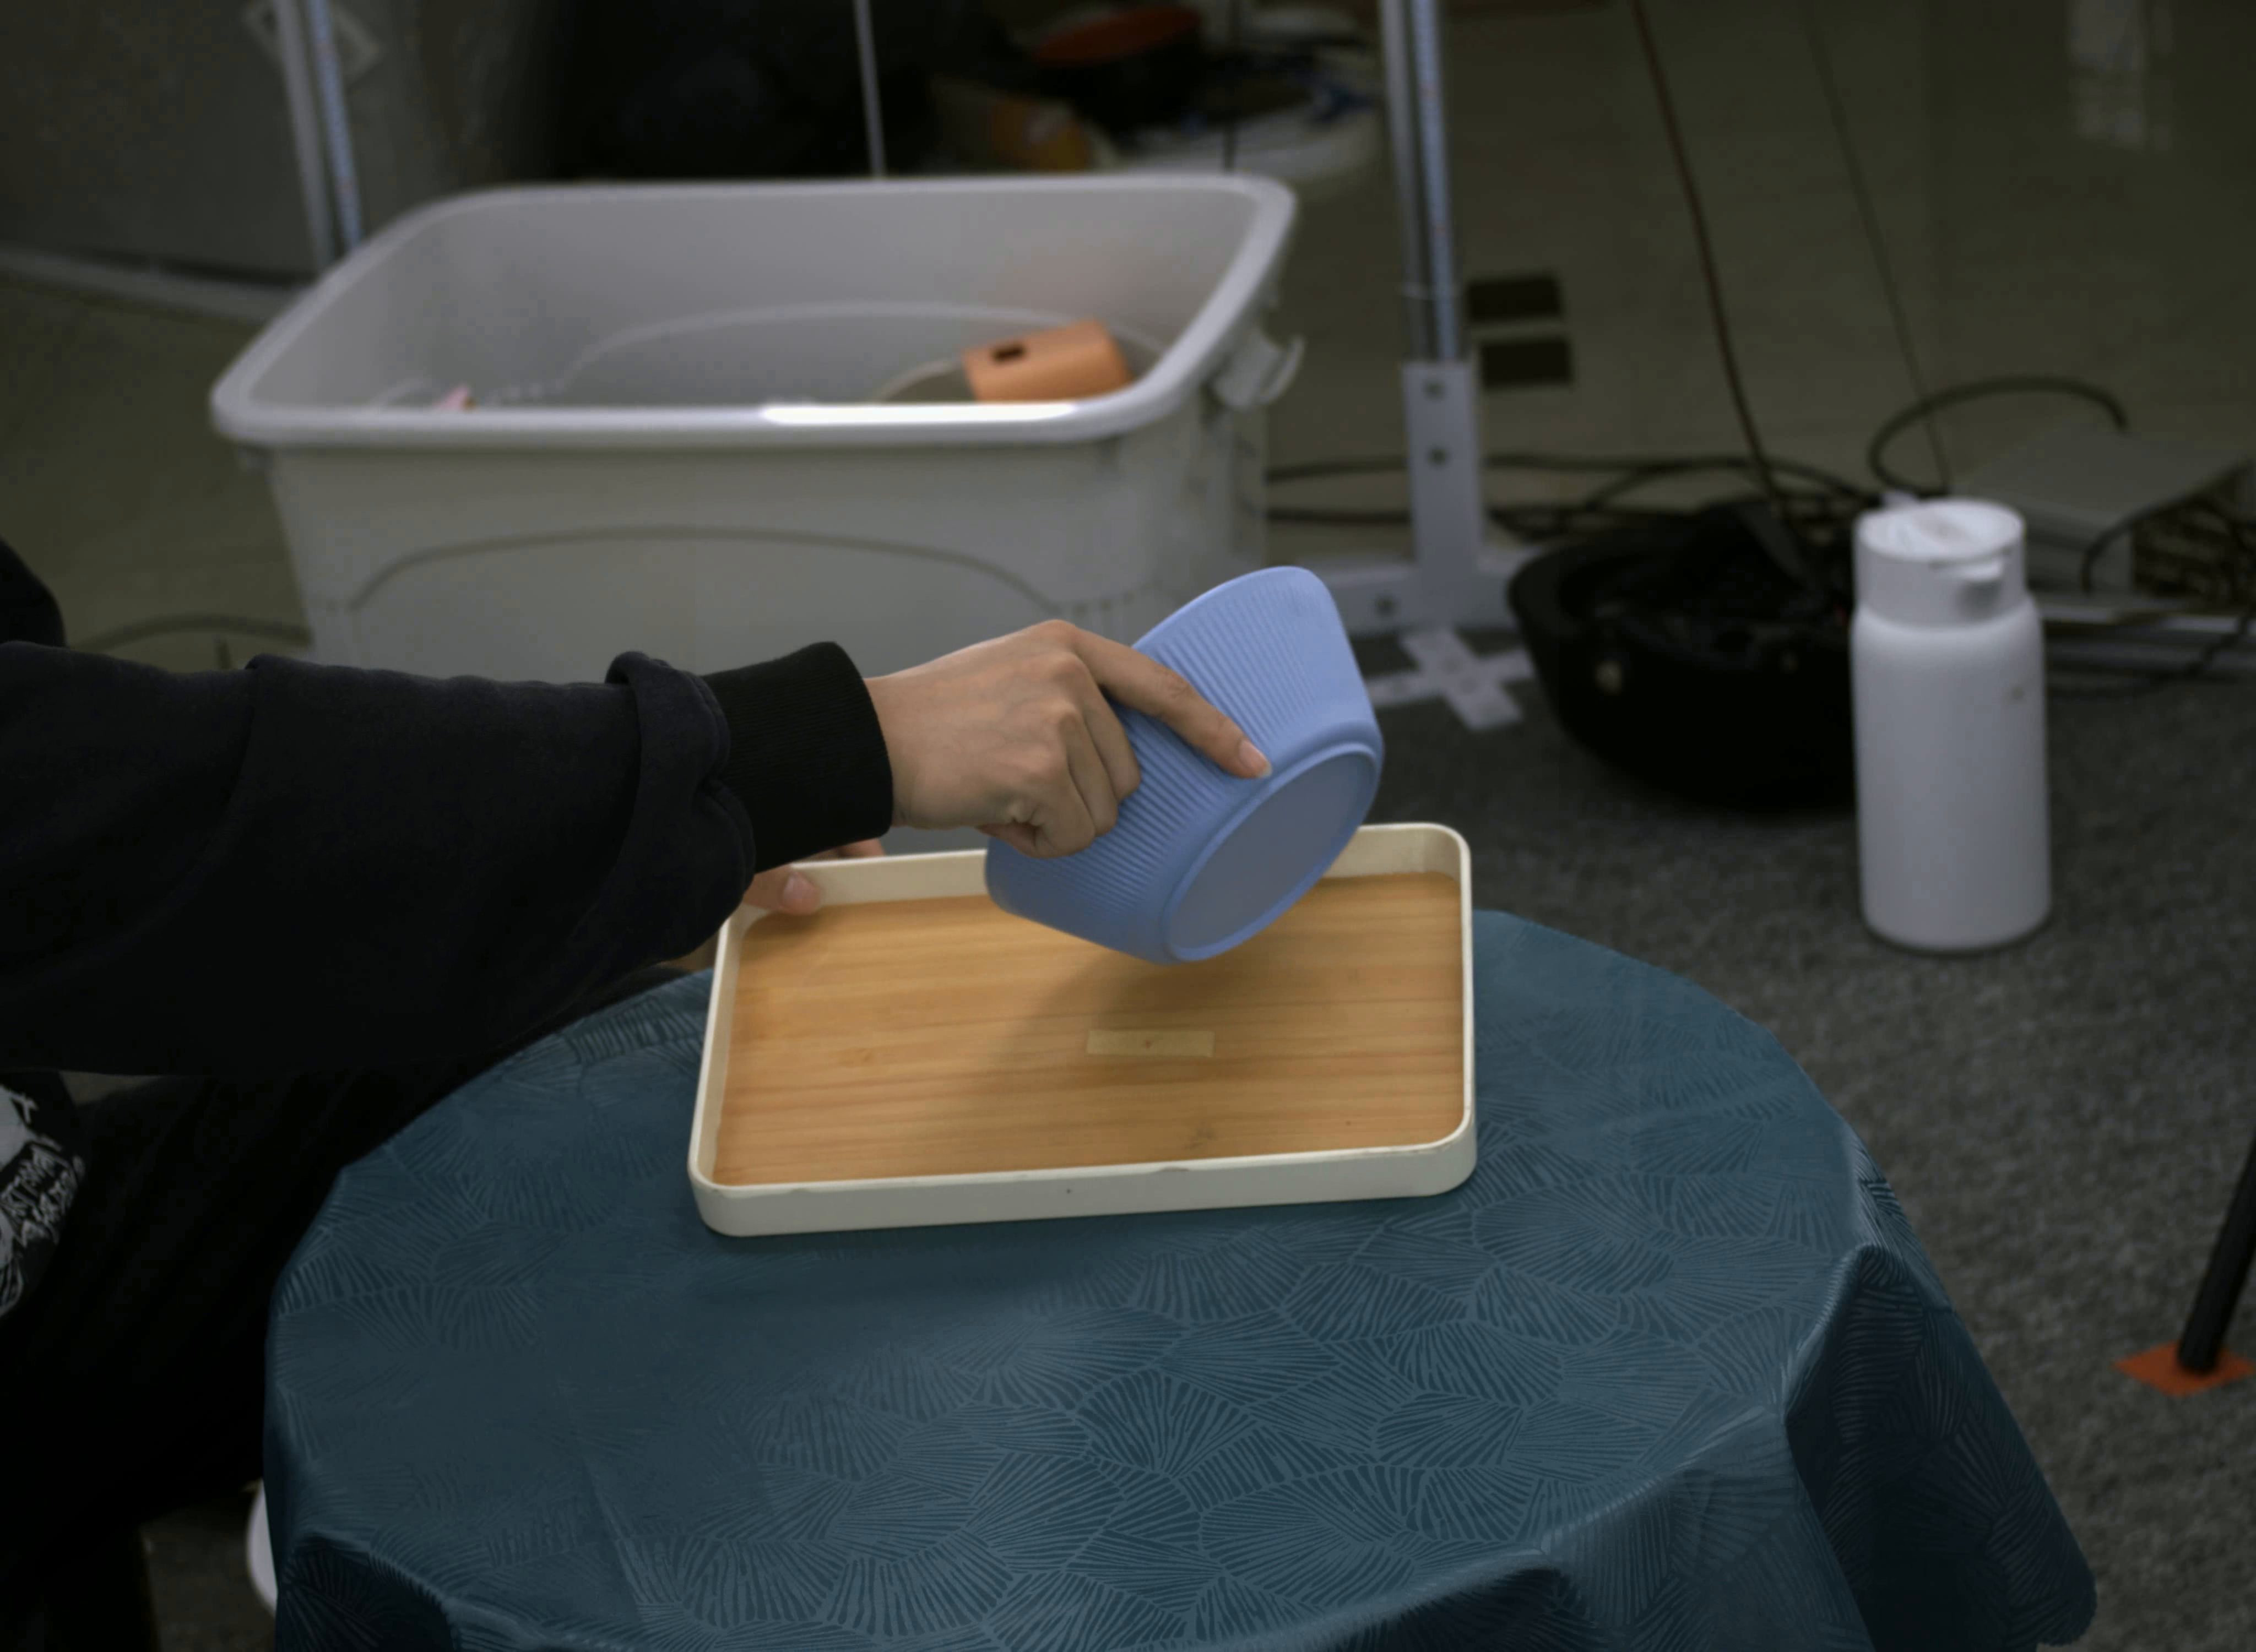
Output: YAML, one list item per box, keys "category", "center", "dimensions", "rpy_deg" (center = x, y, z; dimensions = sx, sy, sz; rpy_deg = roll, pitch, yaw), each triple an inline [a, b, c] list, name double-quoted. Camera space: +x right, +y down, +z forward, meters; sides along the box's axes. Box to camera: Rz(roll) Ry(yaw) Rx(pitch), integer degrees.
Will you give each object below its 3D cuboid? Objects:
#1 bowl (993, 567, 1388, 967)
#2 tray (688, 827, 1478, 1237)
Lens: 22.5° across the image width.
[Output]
- category: "bowl"
  center: [0.035, -0.011, 2.148]
  dimensions: [0.174, 0.179, 0.069]
  rpy_deg: [-27, 63, -38]
- category: "tray"
  center: [-0.015, 0.078, 2.199]
  dimensions: [0.300, 0.028, 0.188]
  rpy_deg: [-3, 41, 6]
